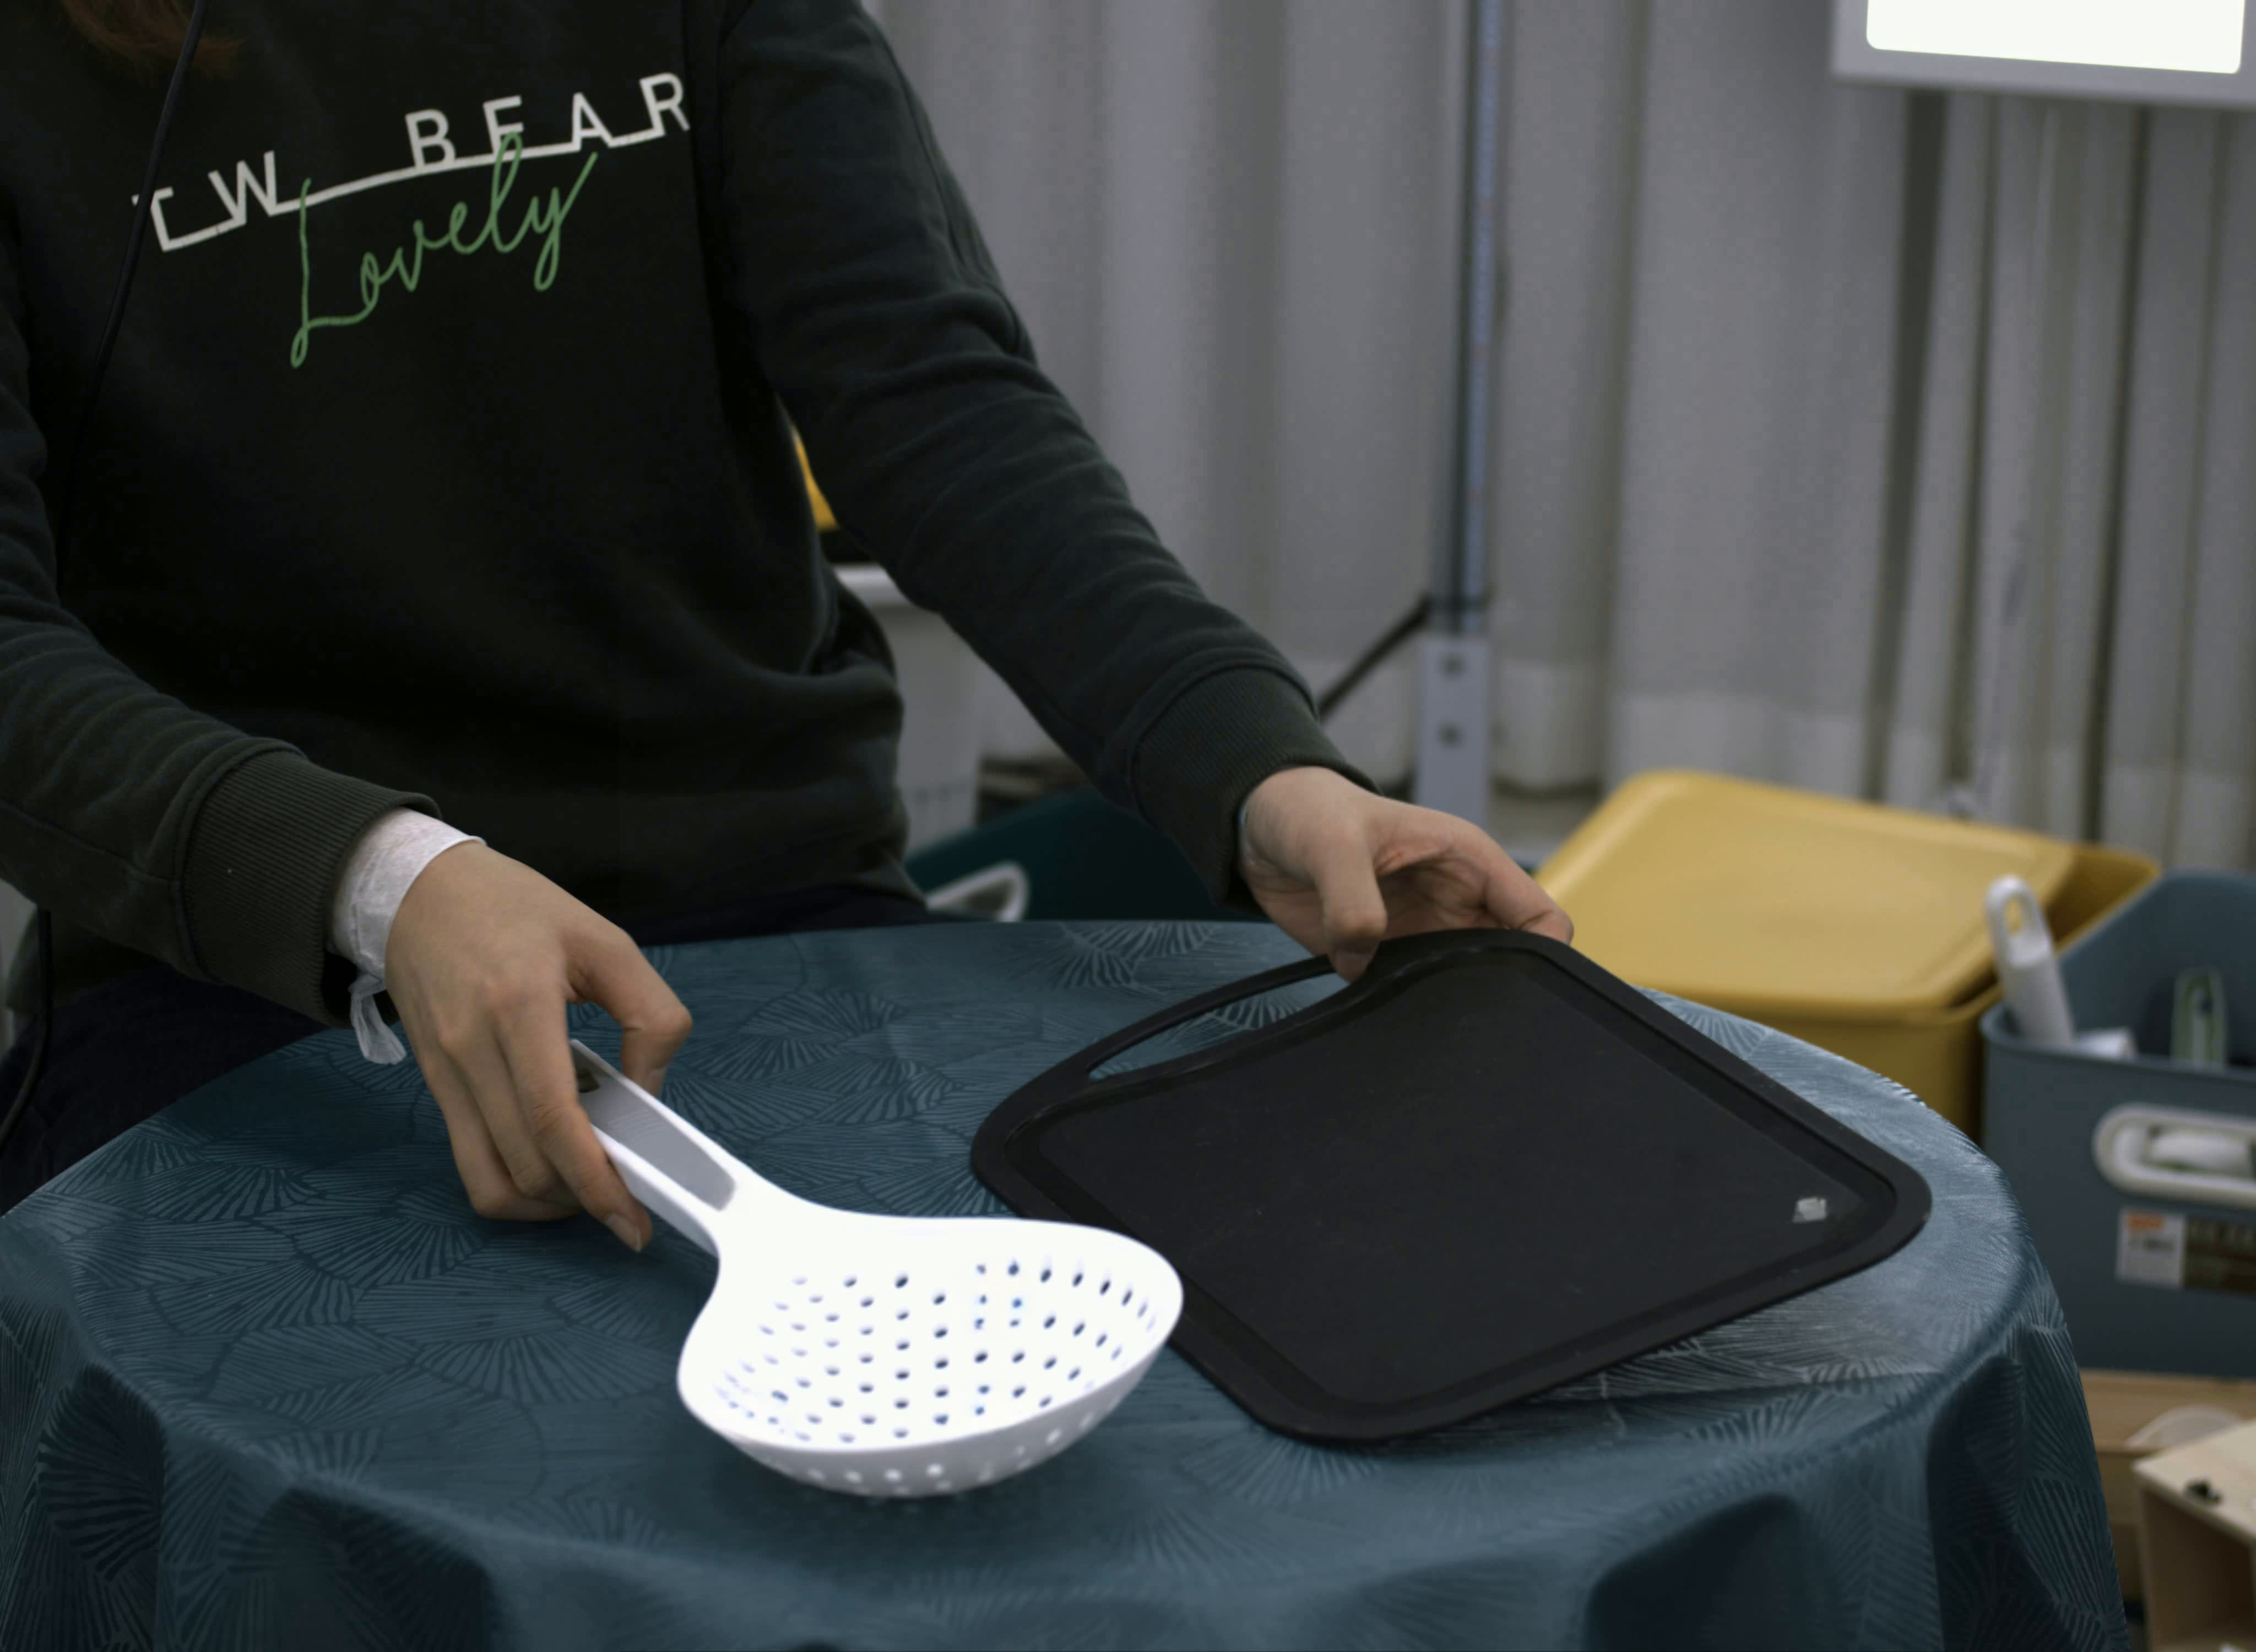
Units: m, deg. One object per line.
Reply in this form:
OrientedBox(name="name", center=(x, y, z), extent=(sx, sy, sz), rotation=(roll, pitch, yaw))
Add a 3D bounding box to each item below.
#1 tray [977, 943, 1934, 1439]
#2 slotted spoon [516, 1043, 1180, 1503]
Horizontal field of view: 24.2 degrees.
OrientedBox(name="tray", center=(0.086, 0.099, 1.578), extent=(0.211, 0.010, 0.321), rotation=(-19, 22, -17))
OrientedBox(name="slotted spoon", center=(-0.101, 0.117, 1.490), extent=(0.136, 0.046, 0.345), rotation=(-17, 26, -23))
